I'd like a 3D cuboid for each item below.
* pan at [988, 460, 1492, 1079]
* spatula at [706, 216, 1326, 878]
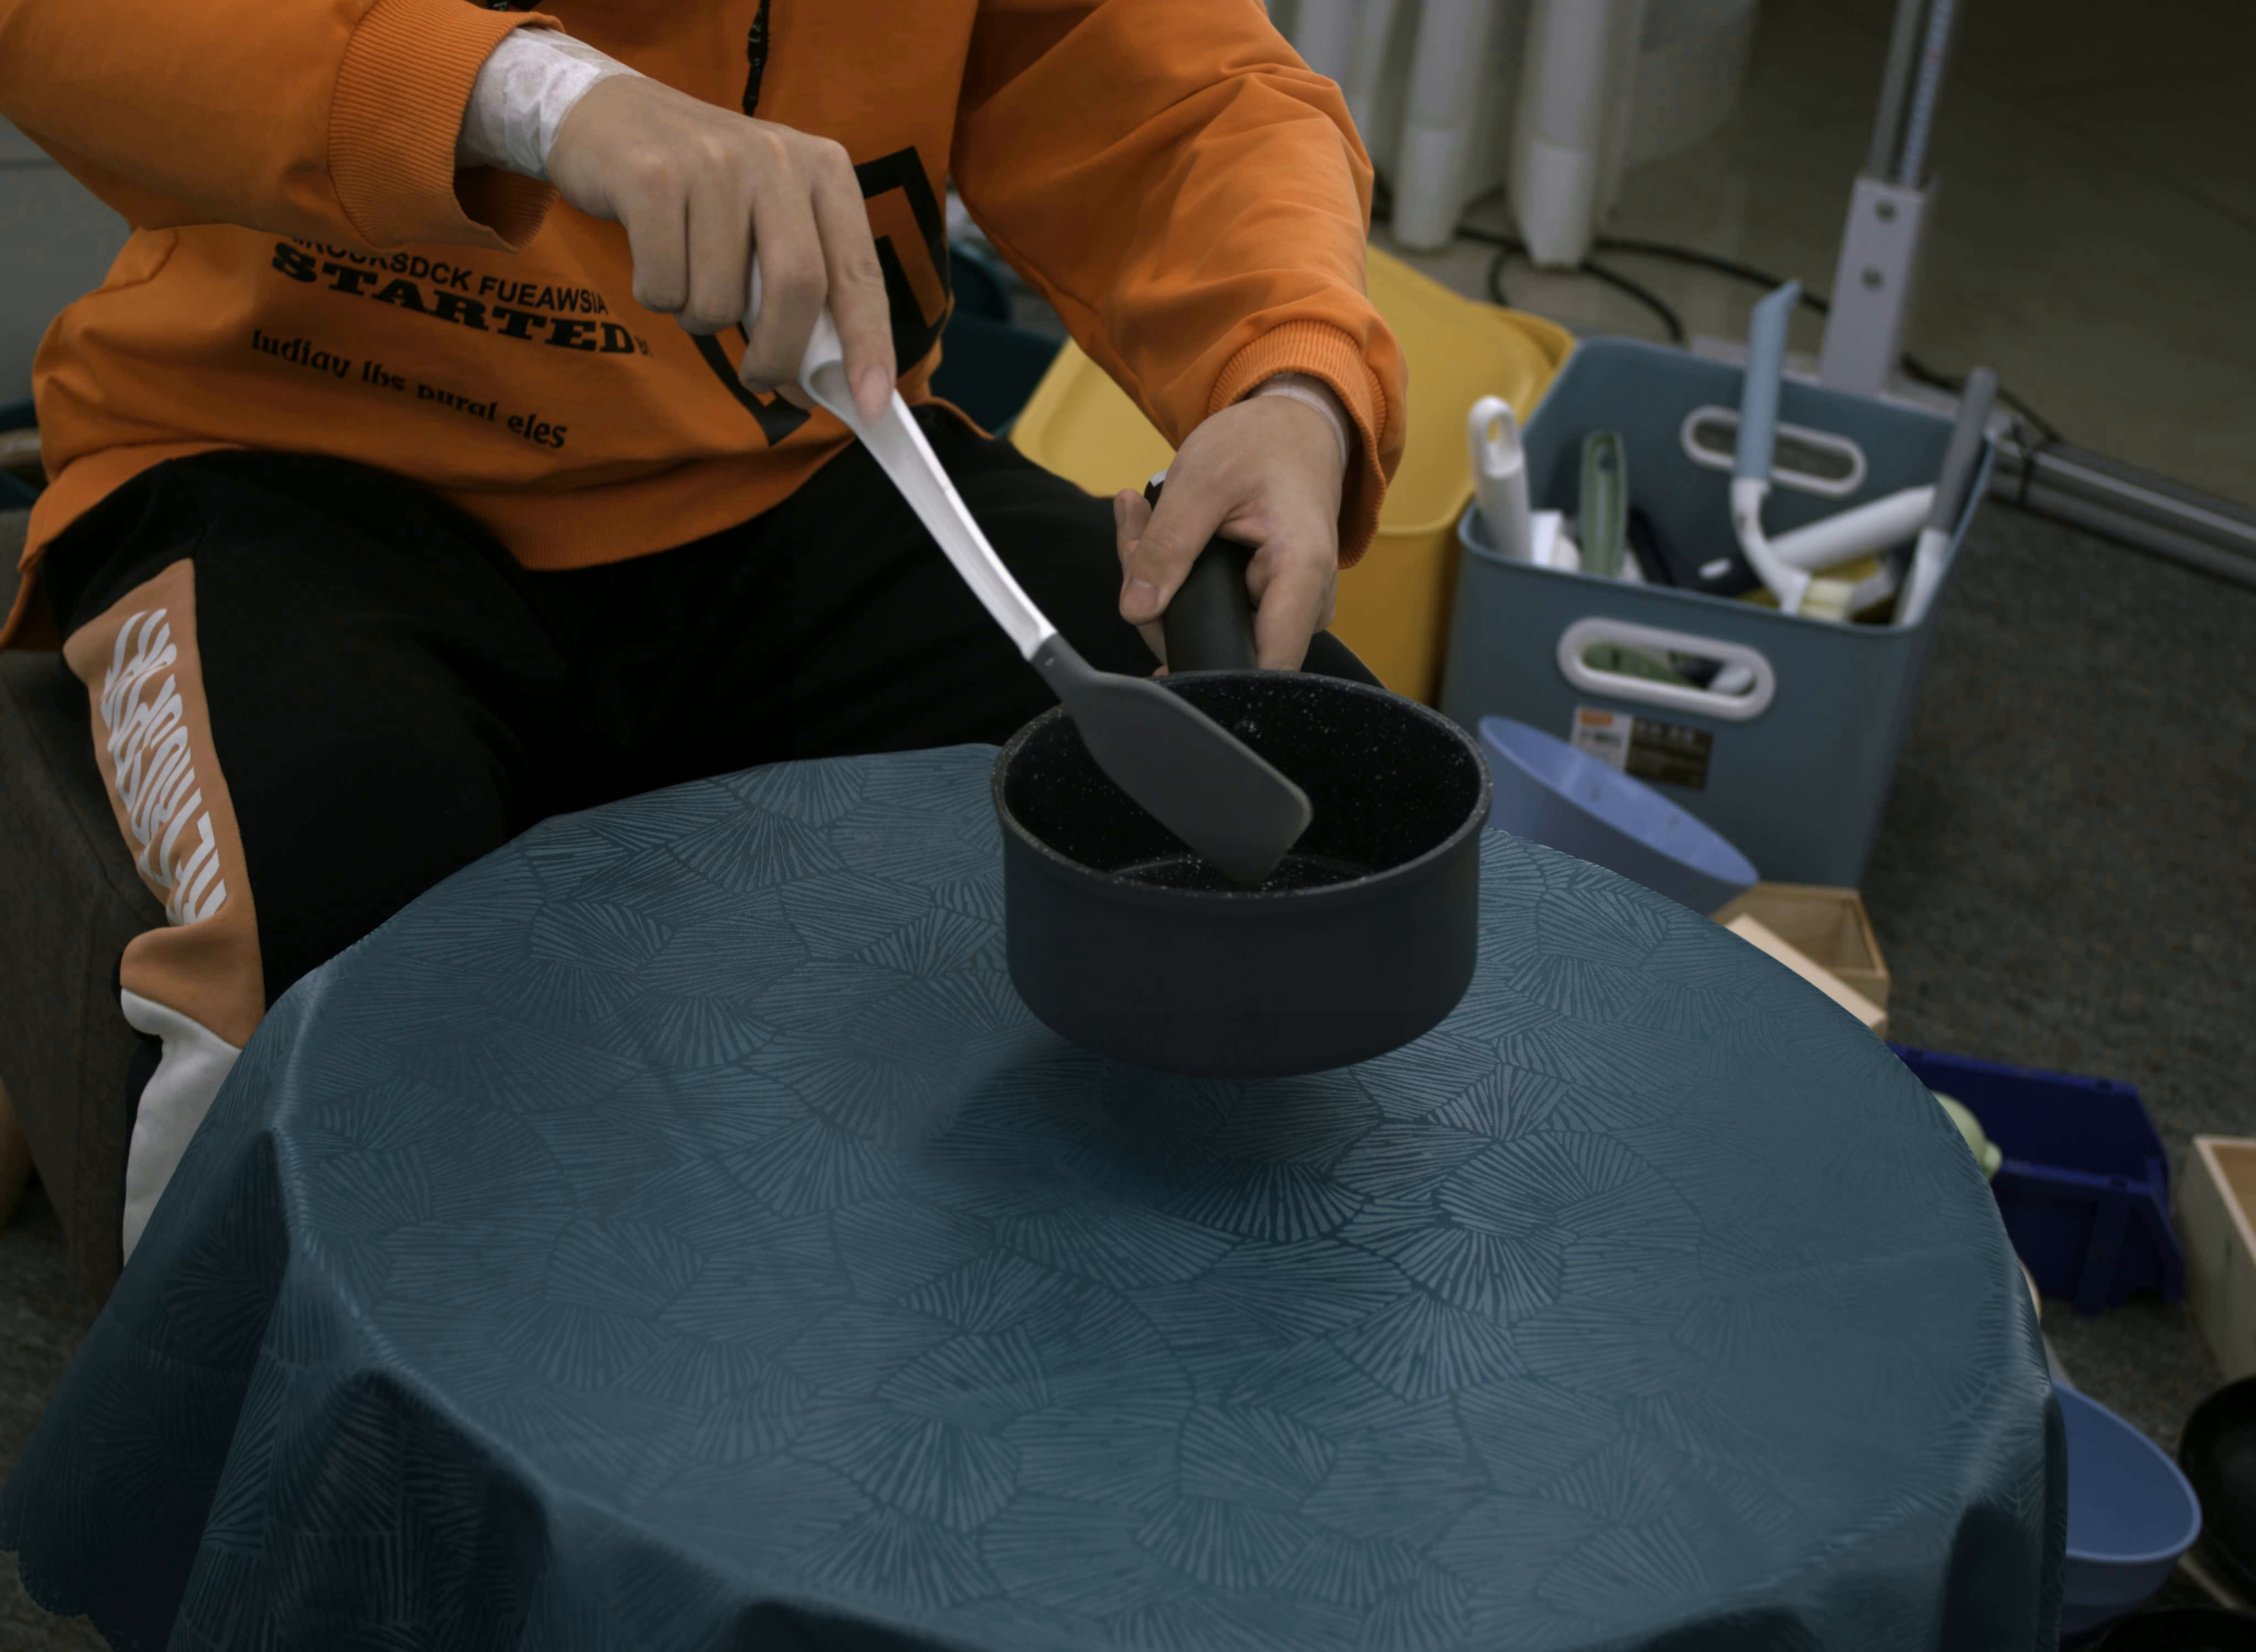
[{"bbox_3d":[0.036,-0.023,1.895,0.171,0.086,0.331,0,29,-1],"label":"pan"},{"bbox_3d":[-0.041,-0.092,1.796,0.289,0.058,0.032,49,44,12],"label":"spatula"}]
